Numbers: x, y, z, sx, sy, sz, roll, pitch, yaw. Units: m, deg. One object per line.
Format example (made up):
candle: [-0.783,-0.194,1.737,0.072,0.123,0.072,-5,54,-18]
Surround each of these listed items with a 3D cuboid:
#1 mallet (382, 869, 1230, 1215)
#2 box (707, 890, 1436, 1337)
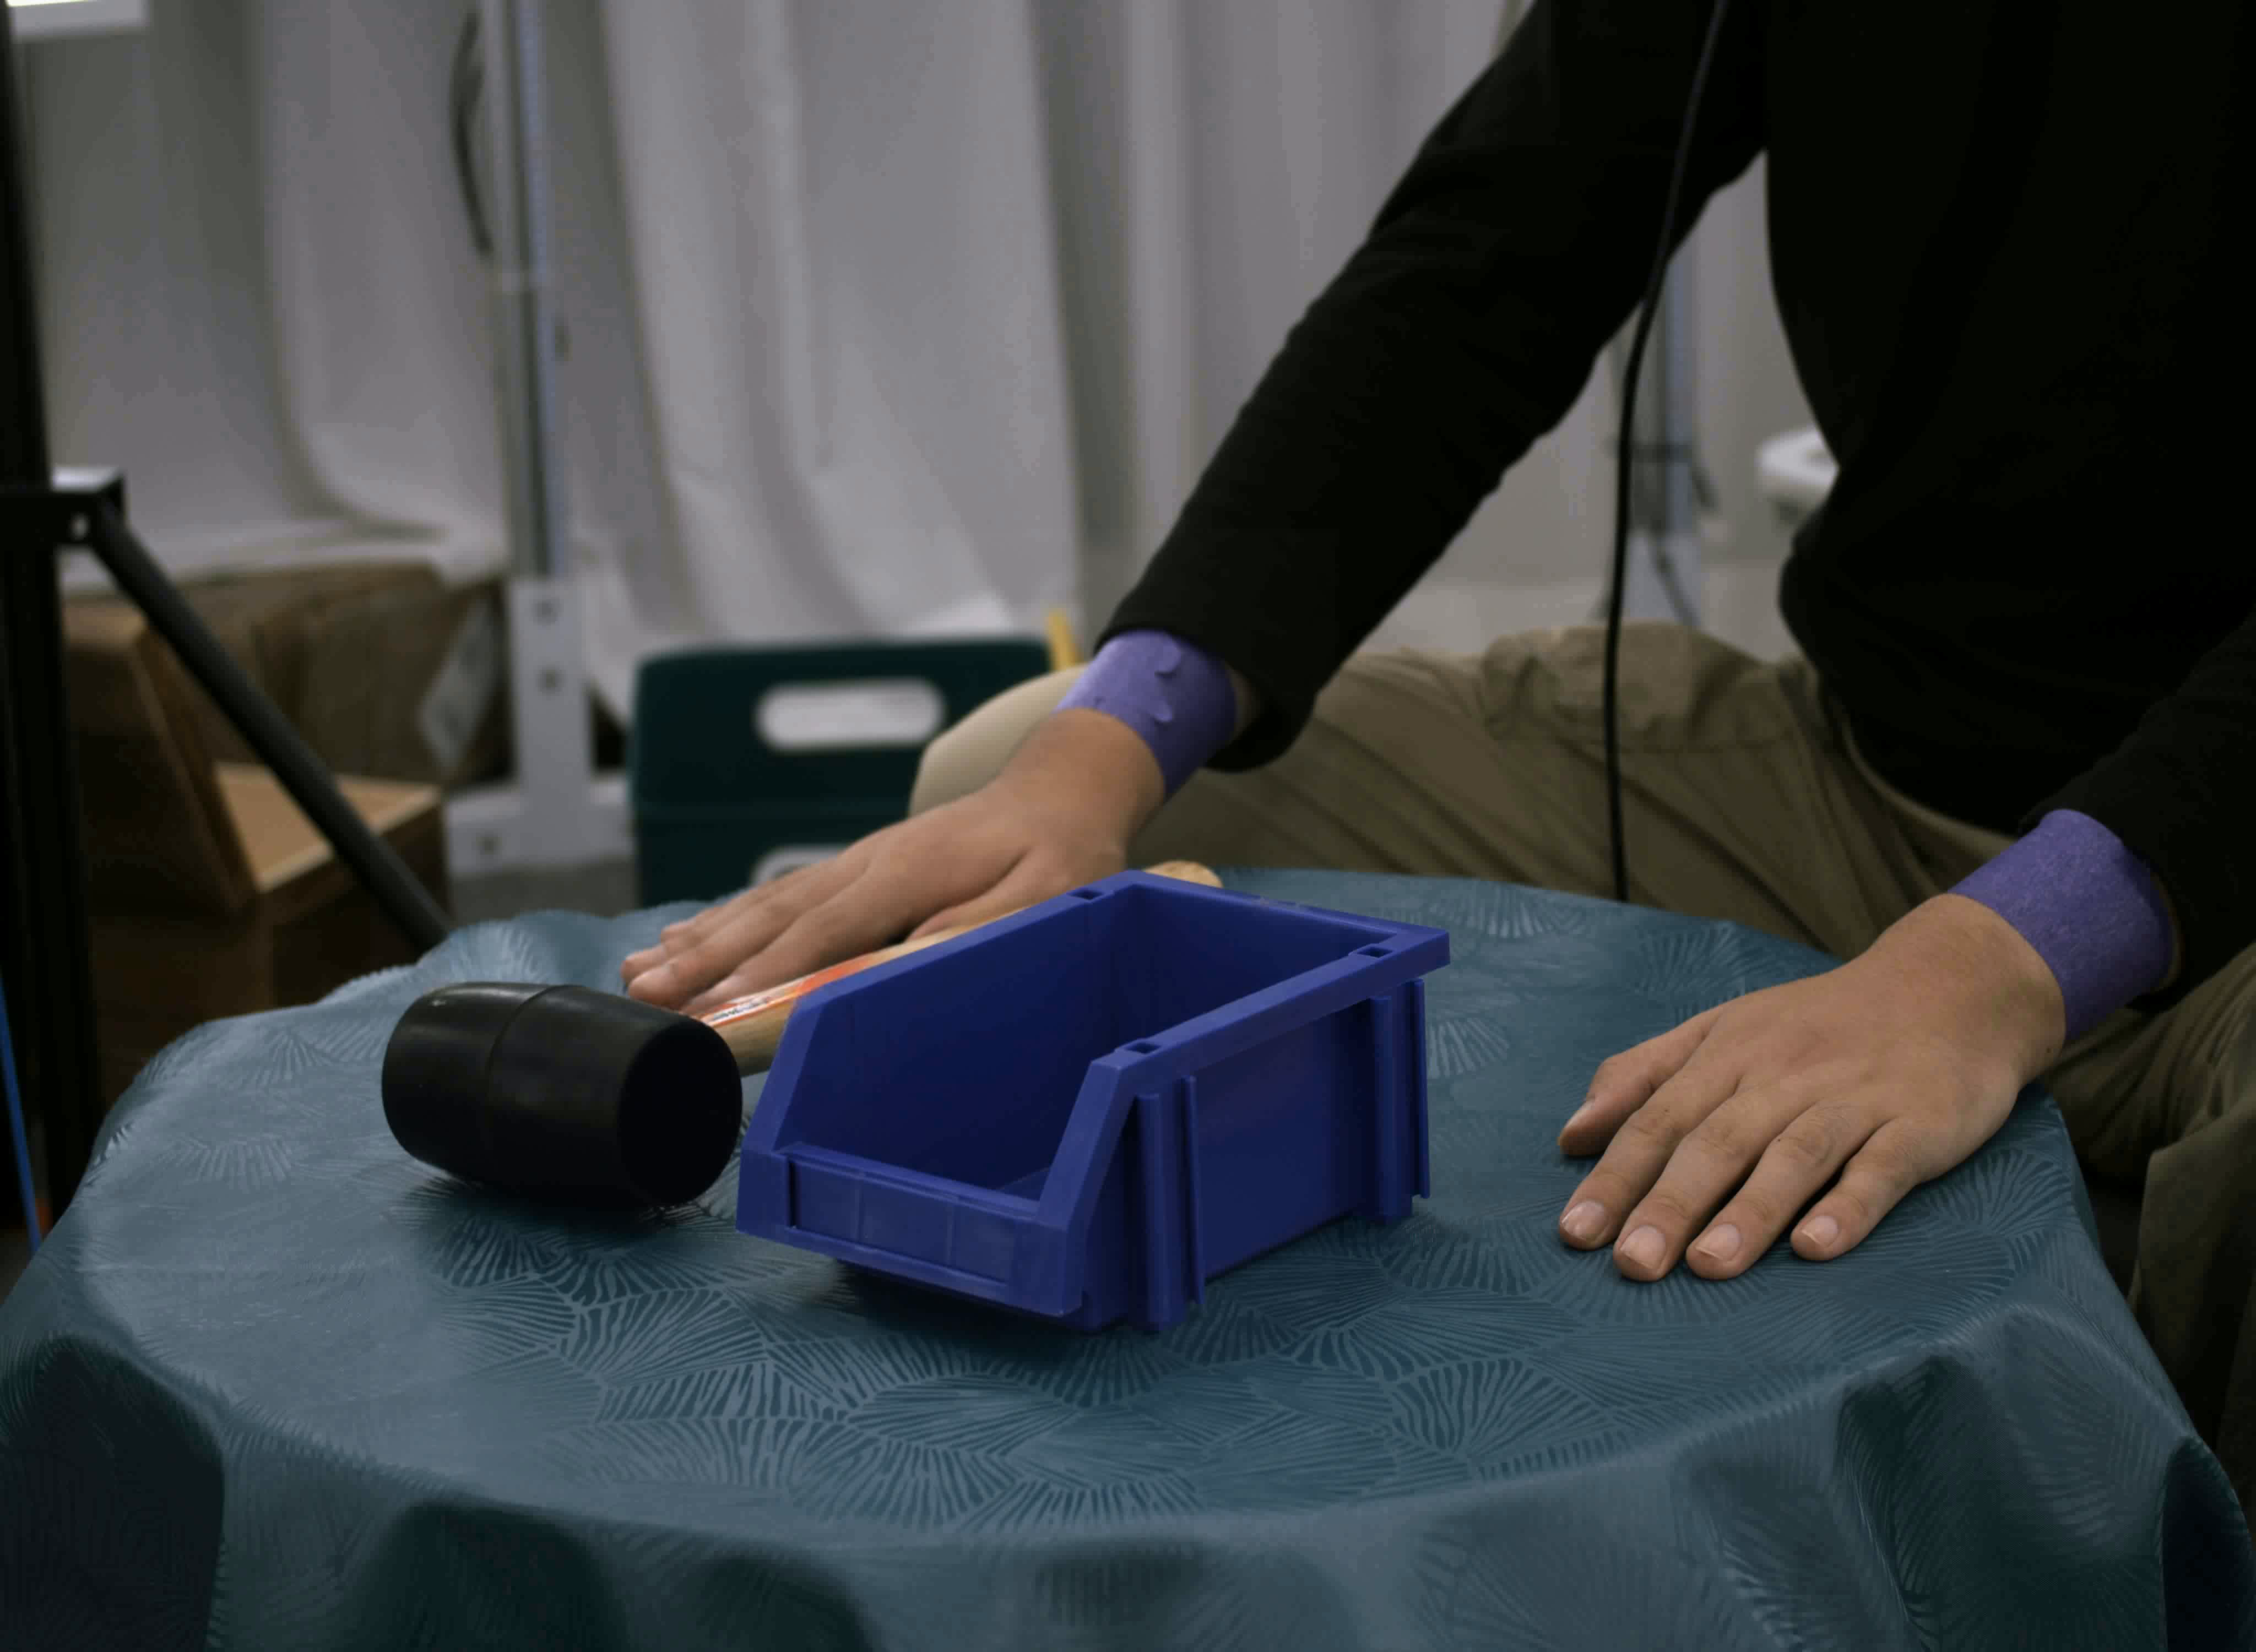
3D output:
mallet: [-0.082,0.048,1.670,0.104,0.064,0.331,11,20,38]
box: [-0.013,0.083,1.498,0.127,0.082,0.175,11,17,41]
